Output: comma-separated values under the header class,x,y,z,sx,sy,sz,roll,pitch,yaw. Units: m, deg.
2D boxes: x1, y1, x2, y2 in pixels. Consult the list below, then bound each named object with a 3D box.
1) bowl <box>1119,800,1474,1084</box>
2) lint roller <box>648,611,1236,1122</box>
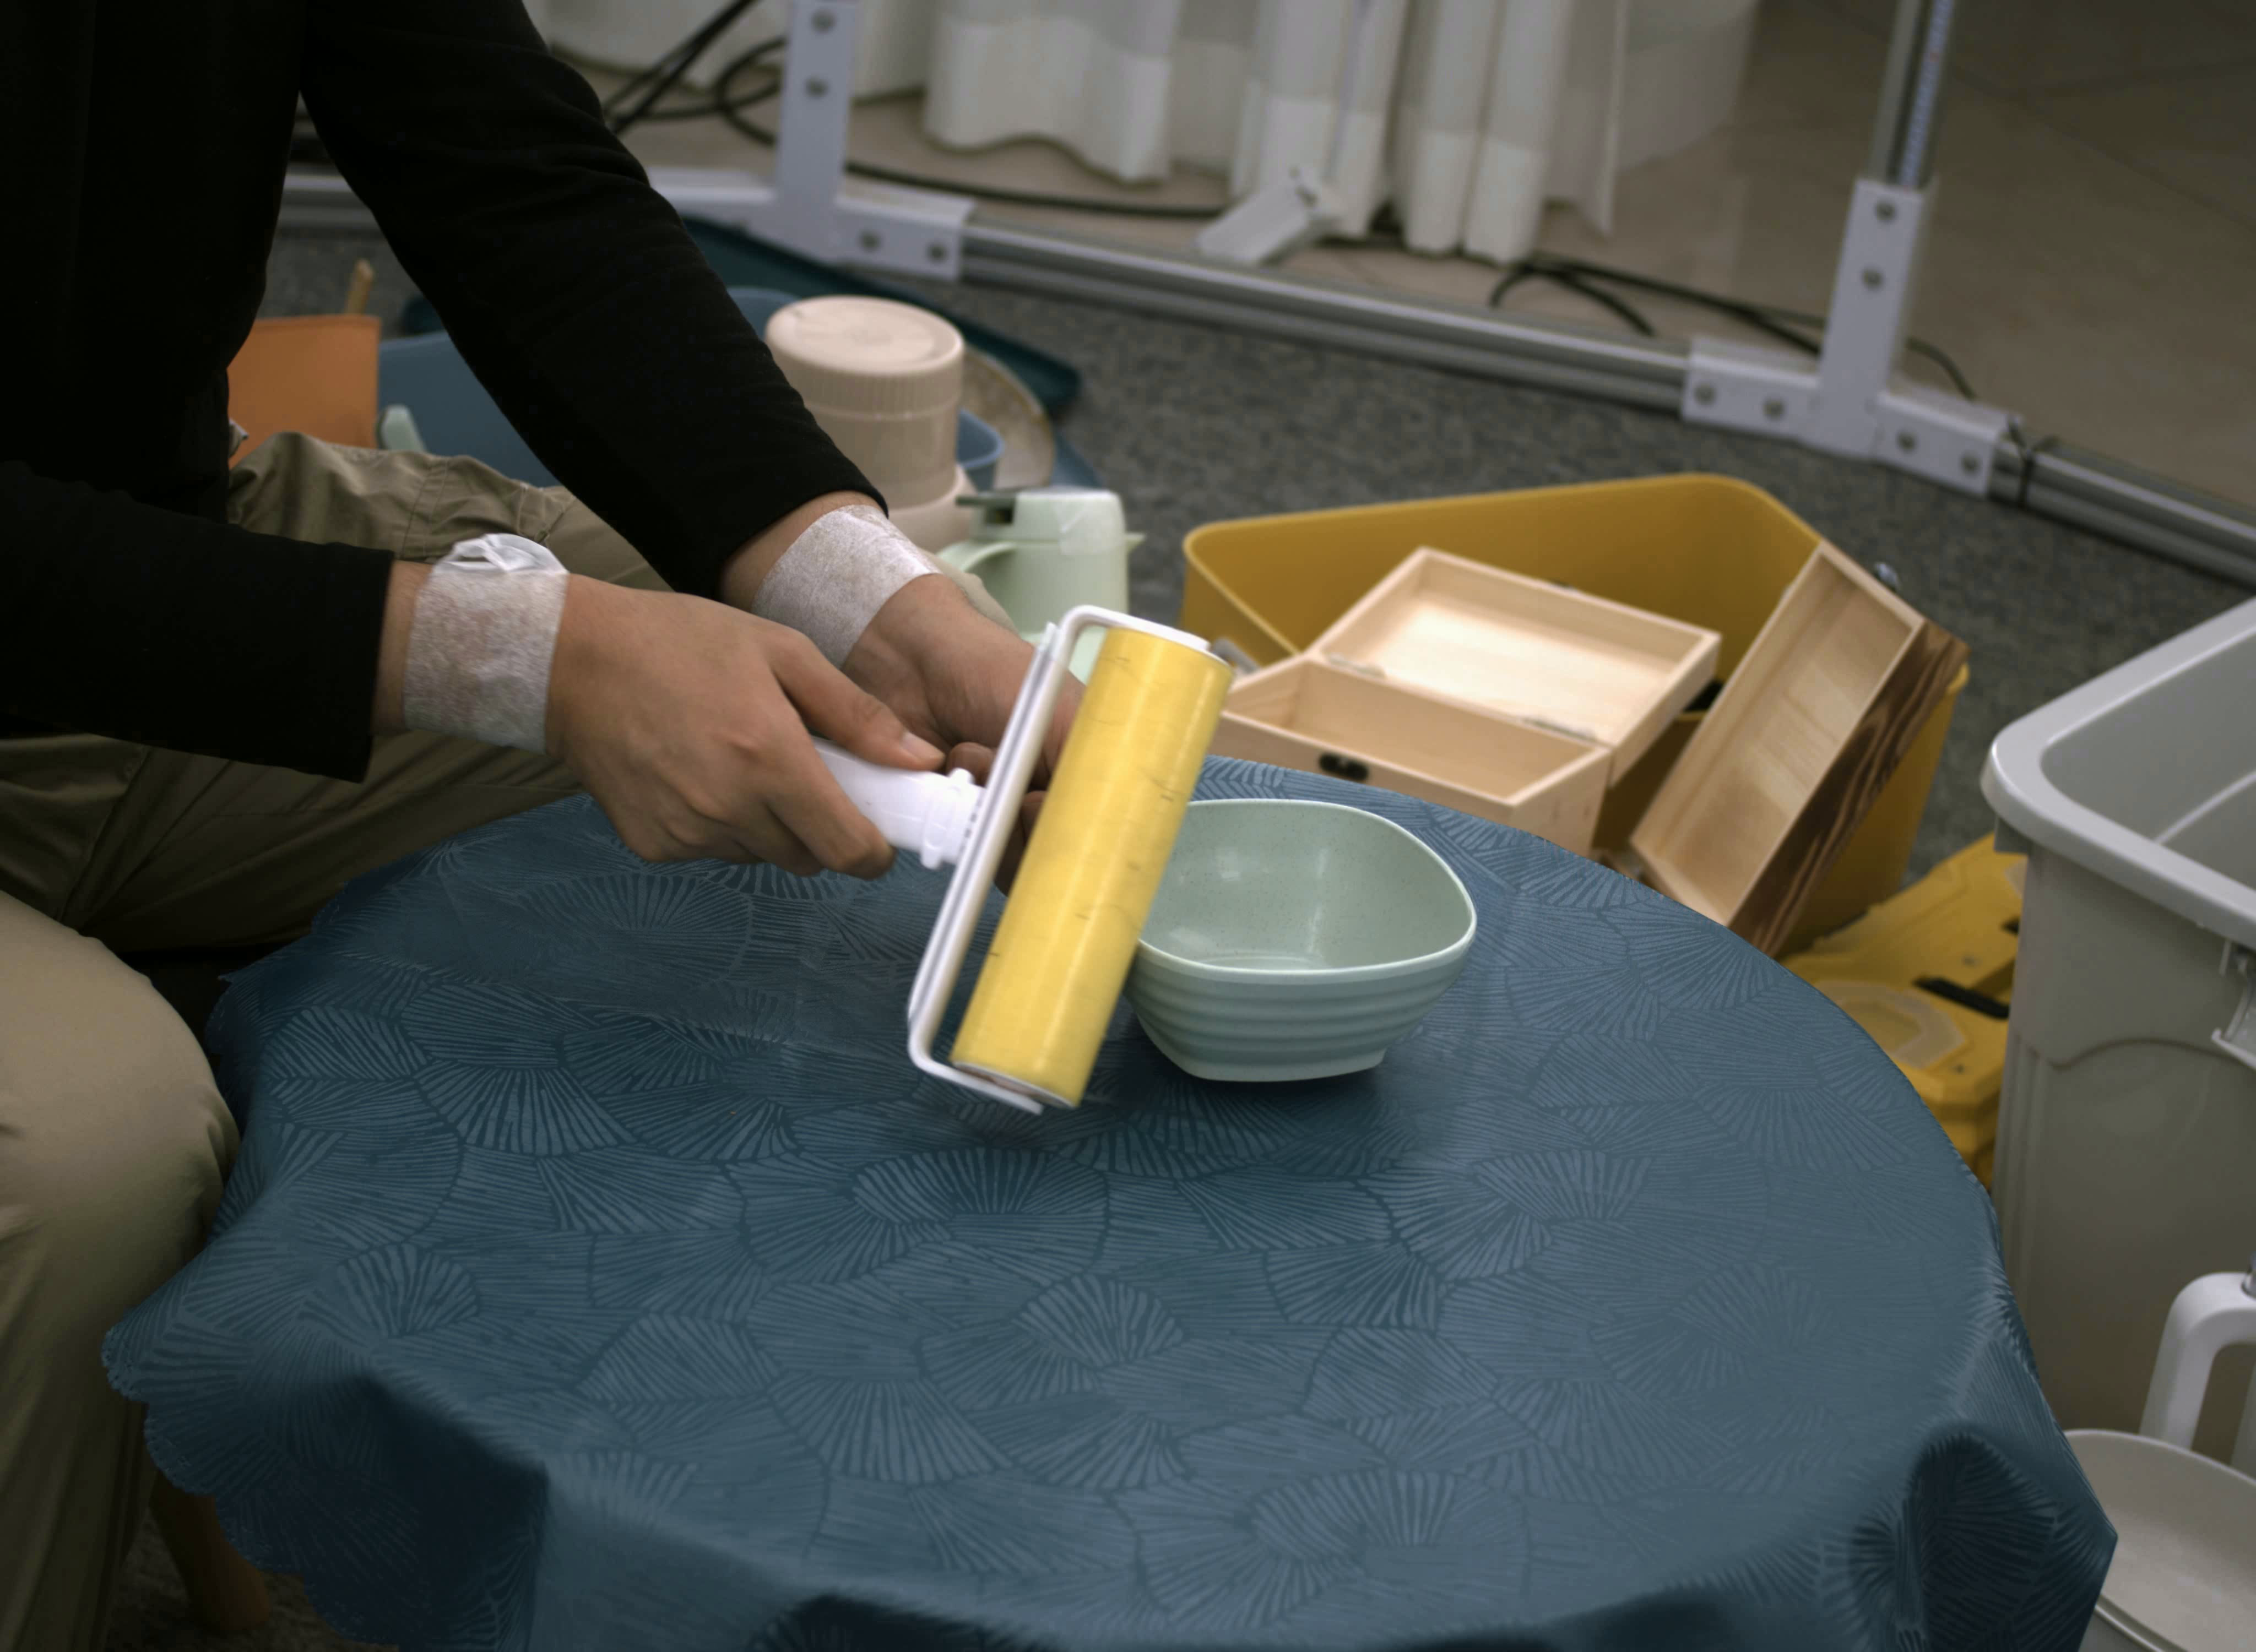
class,x,y,z,sx,sy,sz,roll,pitch,yaw
bowl,0.047,0.046,1.889,0.151,0.058,0.152,5,25,-3
lint roller,-0.078,-0.005,1.833,0.192,0.175,0.051,17,-9,8
